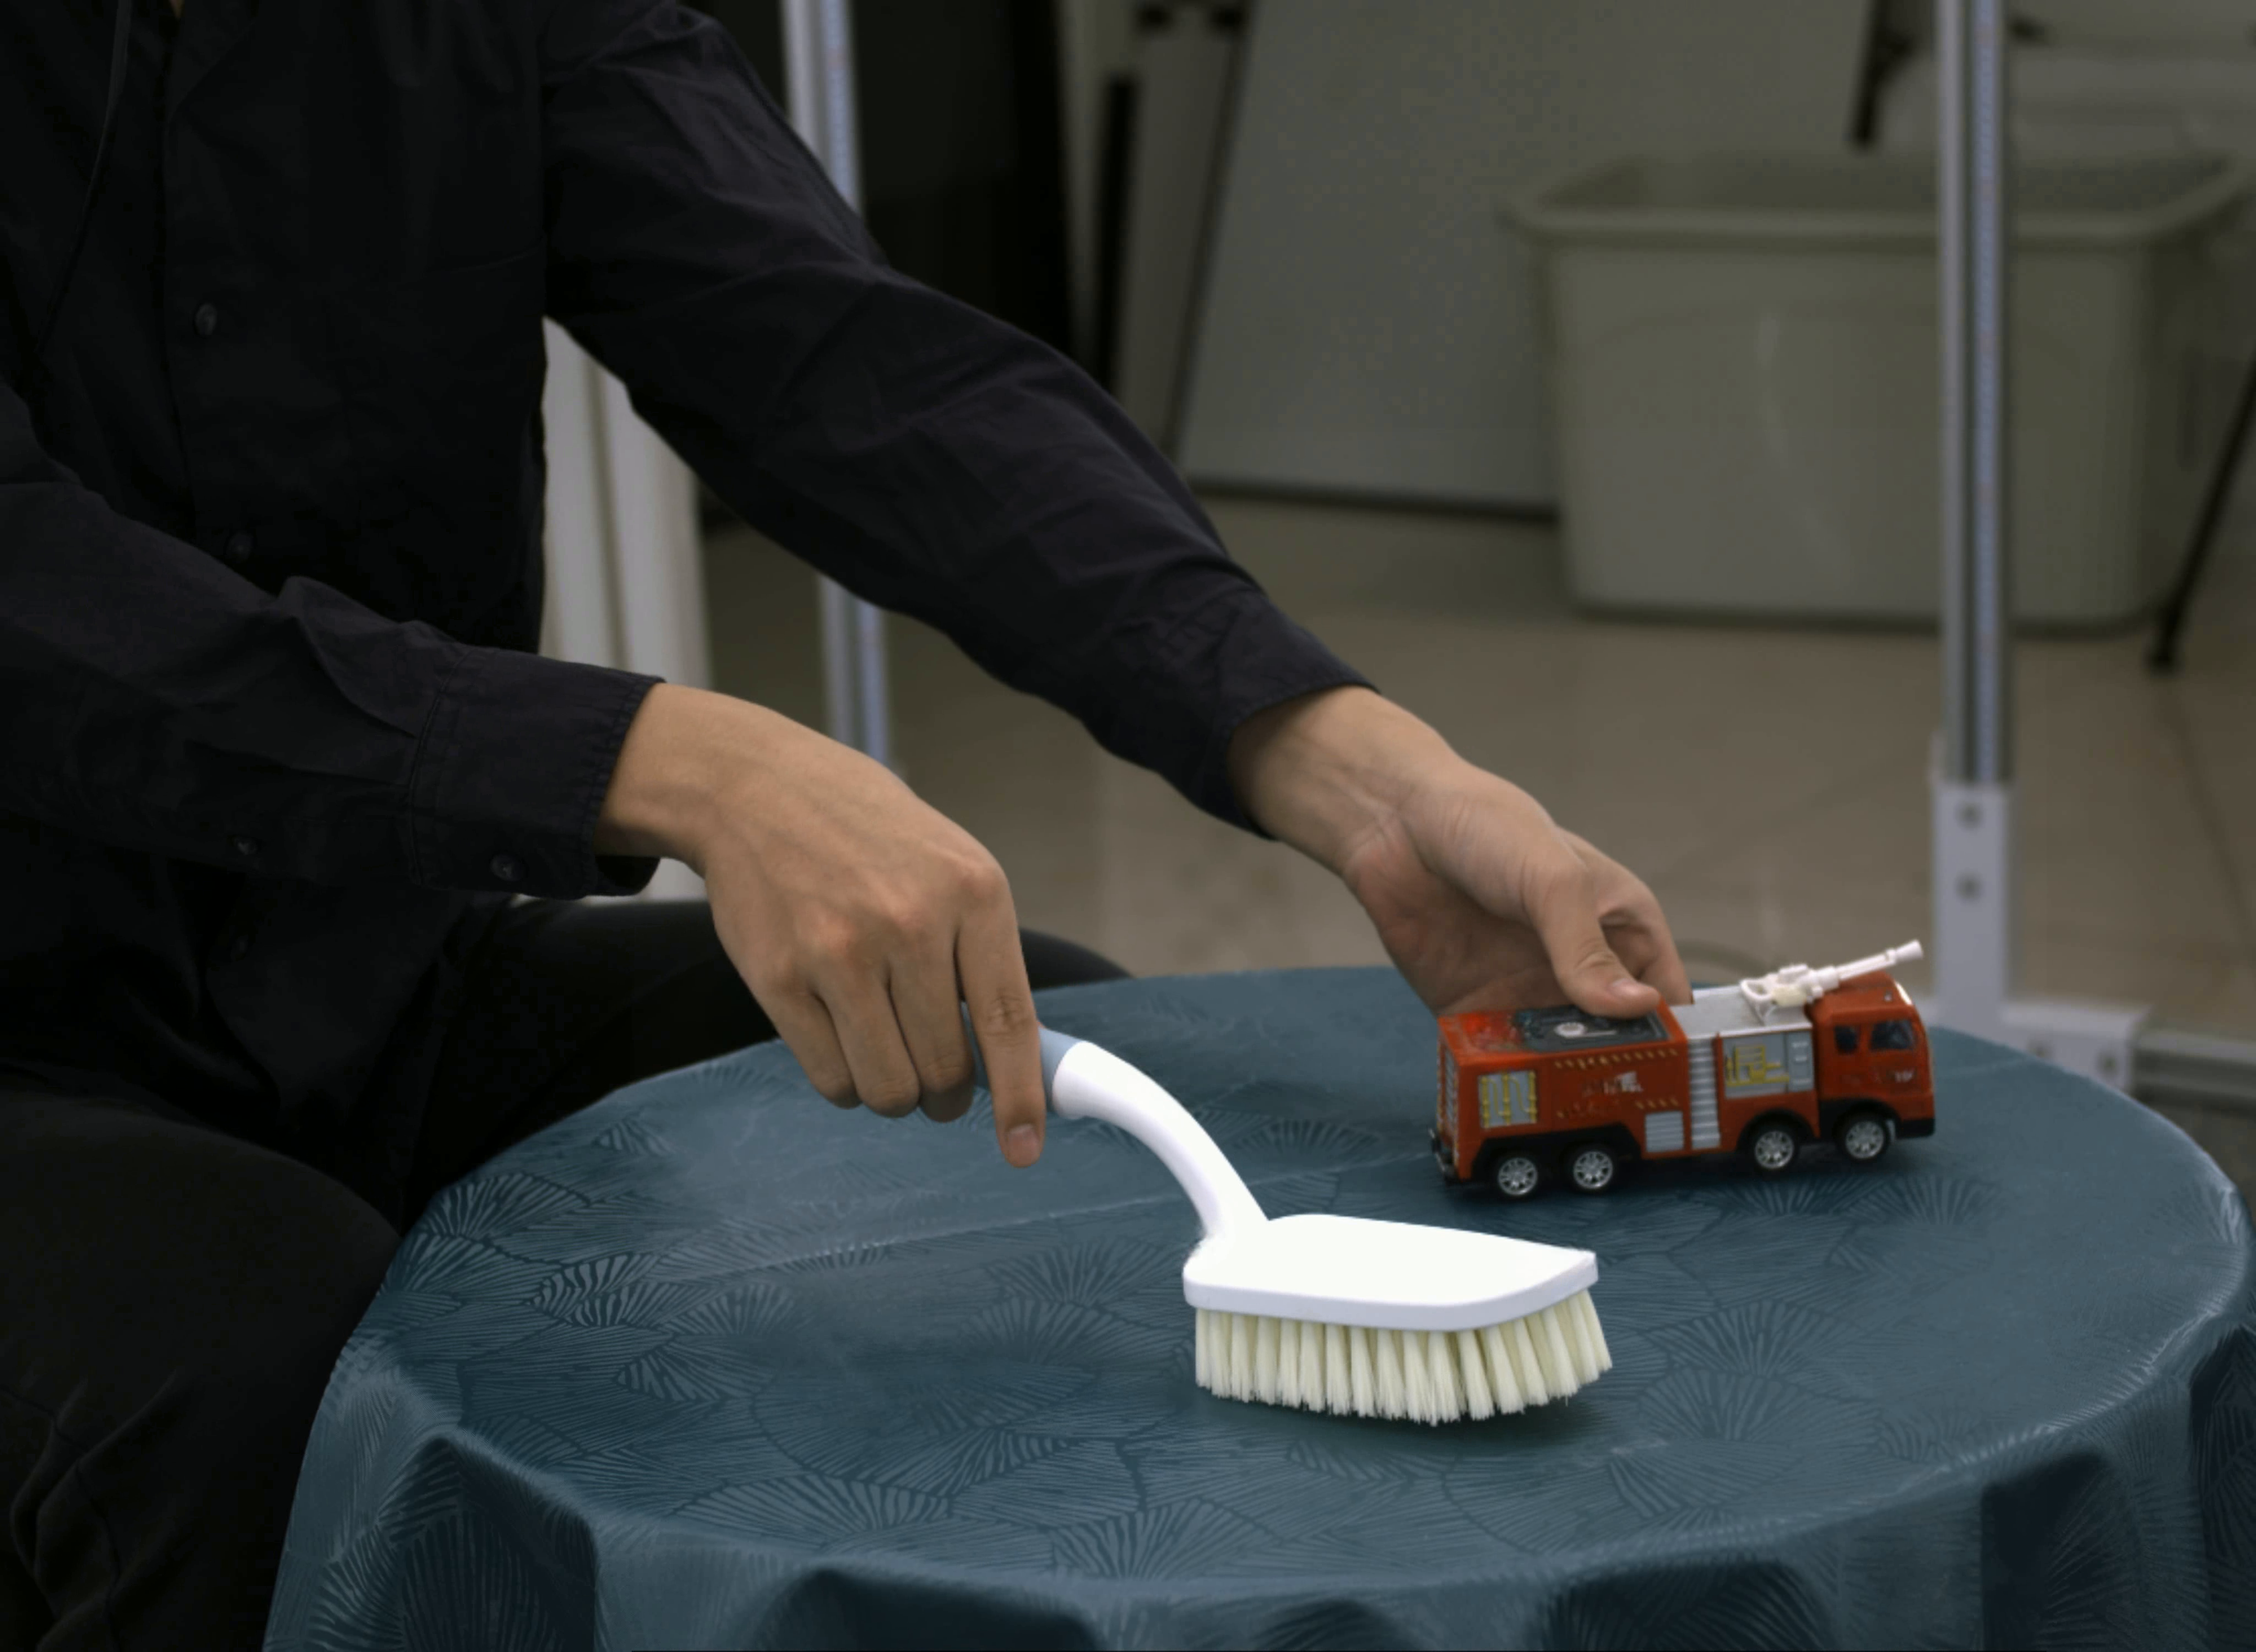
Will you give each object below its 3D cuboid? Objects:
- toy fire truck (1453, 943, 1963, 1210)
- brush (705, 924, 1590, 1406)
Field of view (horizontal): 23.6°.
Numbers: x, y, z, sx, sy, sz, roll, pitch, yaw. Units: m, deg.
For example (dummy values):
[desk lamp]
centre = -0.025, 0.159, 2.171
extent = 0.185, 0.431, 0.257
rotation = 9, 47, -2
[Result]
[toy fire truck]
centre = 0.189, 0.082, 1.743
extent = 0.165, 0.071, 0.054
rotation = -7, 16, -5
[brush]
centre = 0.000, 0.115, 1.627
extent = 0.327, 0.085, 0.082
rotation = 17, -15, 34
